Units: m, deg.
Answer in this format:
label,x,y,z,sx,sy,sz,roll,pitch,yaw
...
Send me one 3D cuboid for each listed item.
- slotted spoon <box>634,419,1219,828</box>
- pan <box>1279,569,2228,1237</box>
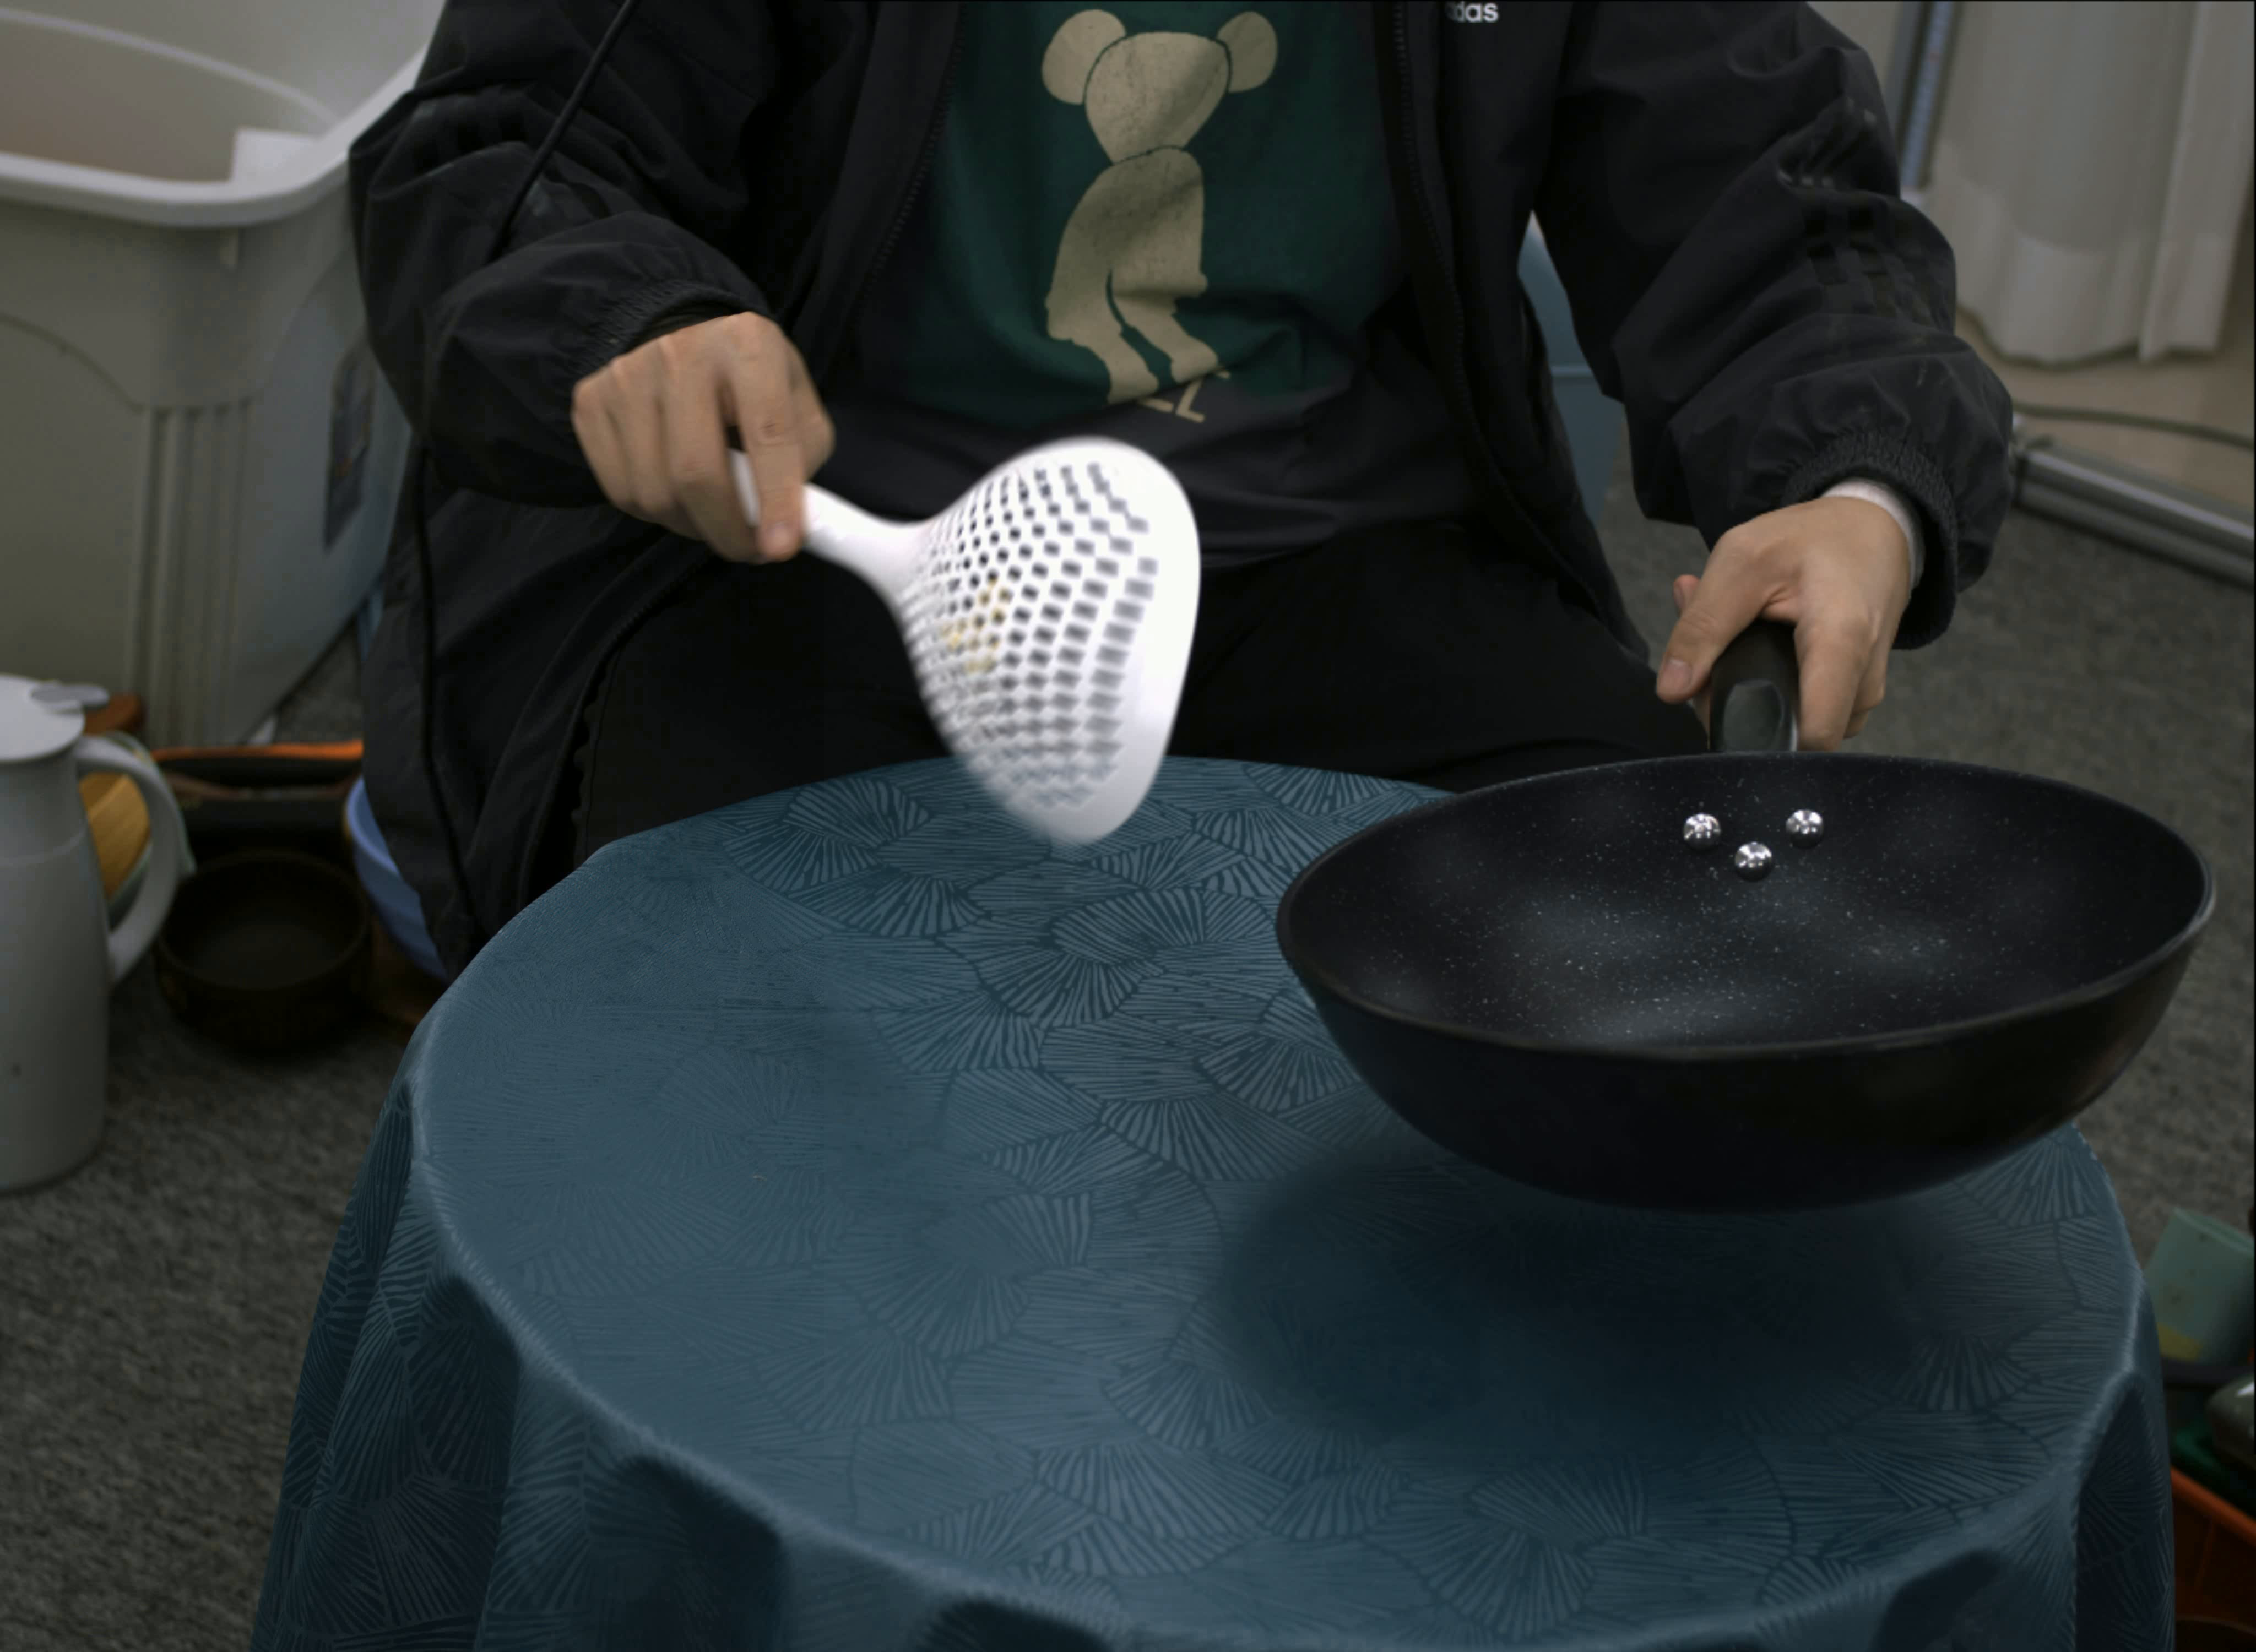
label,x,y,z,sx,sy,sz,roll,pitch,yaw
slotted spoon,-0.079,-0.096,1.881,0.050,0.137,0.350,1,14,-31
pan,0.216,0.028,1.836,0.310,0.111,0.478,0,18,8
